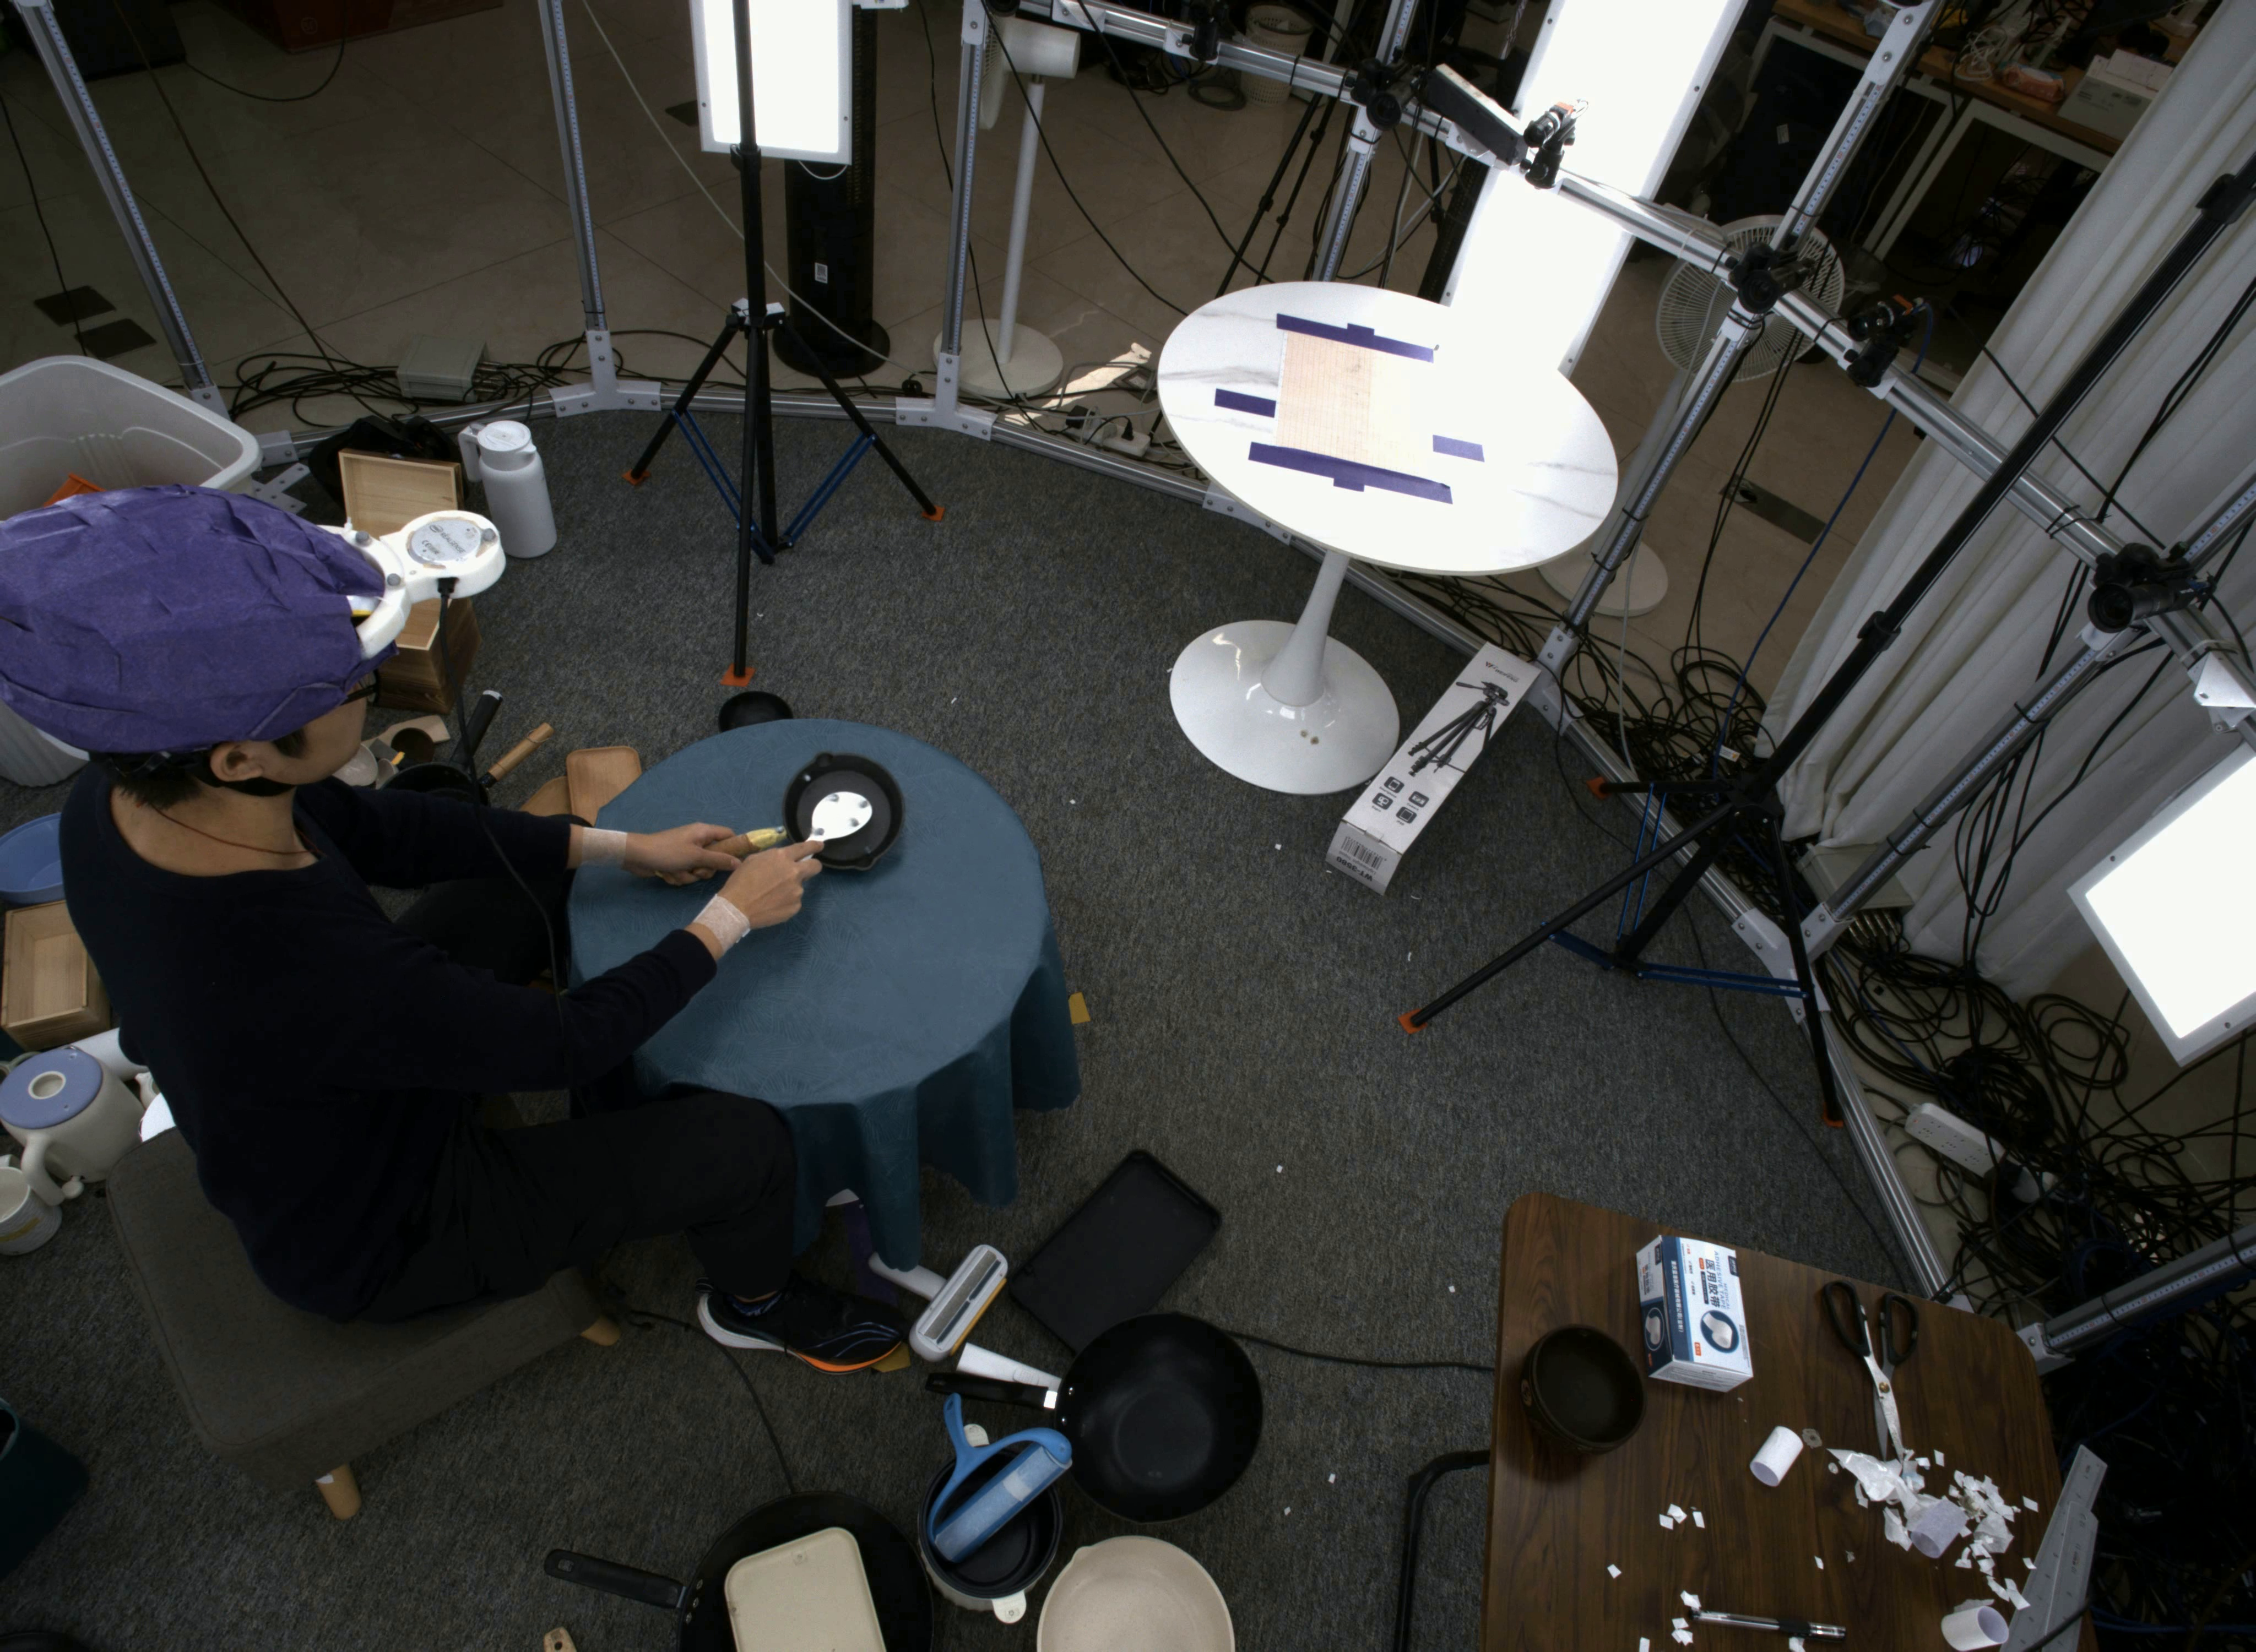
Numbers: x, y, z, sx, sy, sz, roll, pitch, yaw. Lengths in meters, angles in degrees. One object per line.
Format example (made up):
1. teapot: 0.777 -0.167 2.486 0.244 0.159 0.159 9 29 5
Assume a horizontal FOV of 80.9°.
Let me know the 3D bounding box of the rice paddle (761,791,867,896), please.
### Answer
1. rice paddle: -0.395 0.013 1.635 0.068 0.030 0.203 26 41 4

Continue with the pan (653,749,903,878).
1. pan: -0.447 0.005 1.657 0.325 0.049 0.169 -18 82 -20
